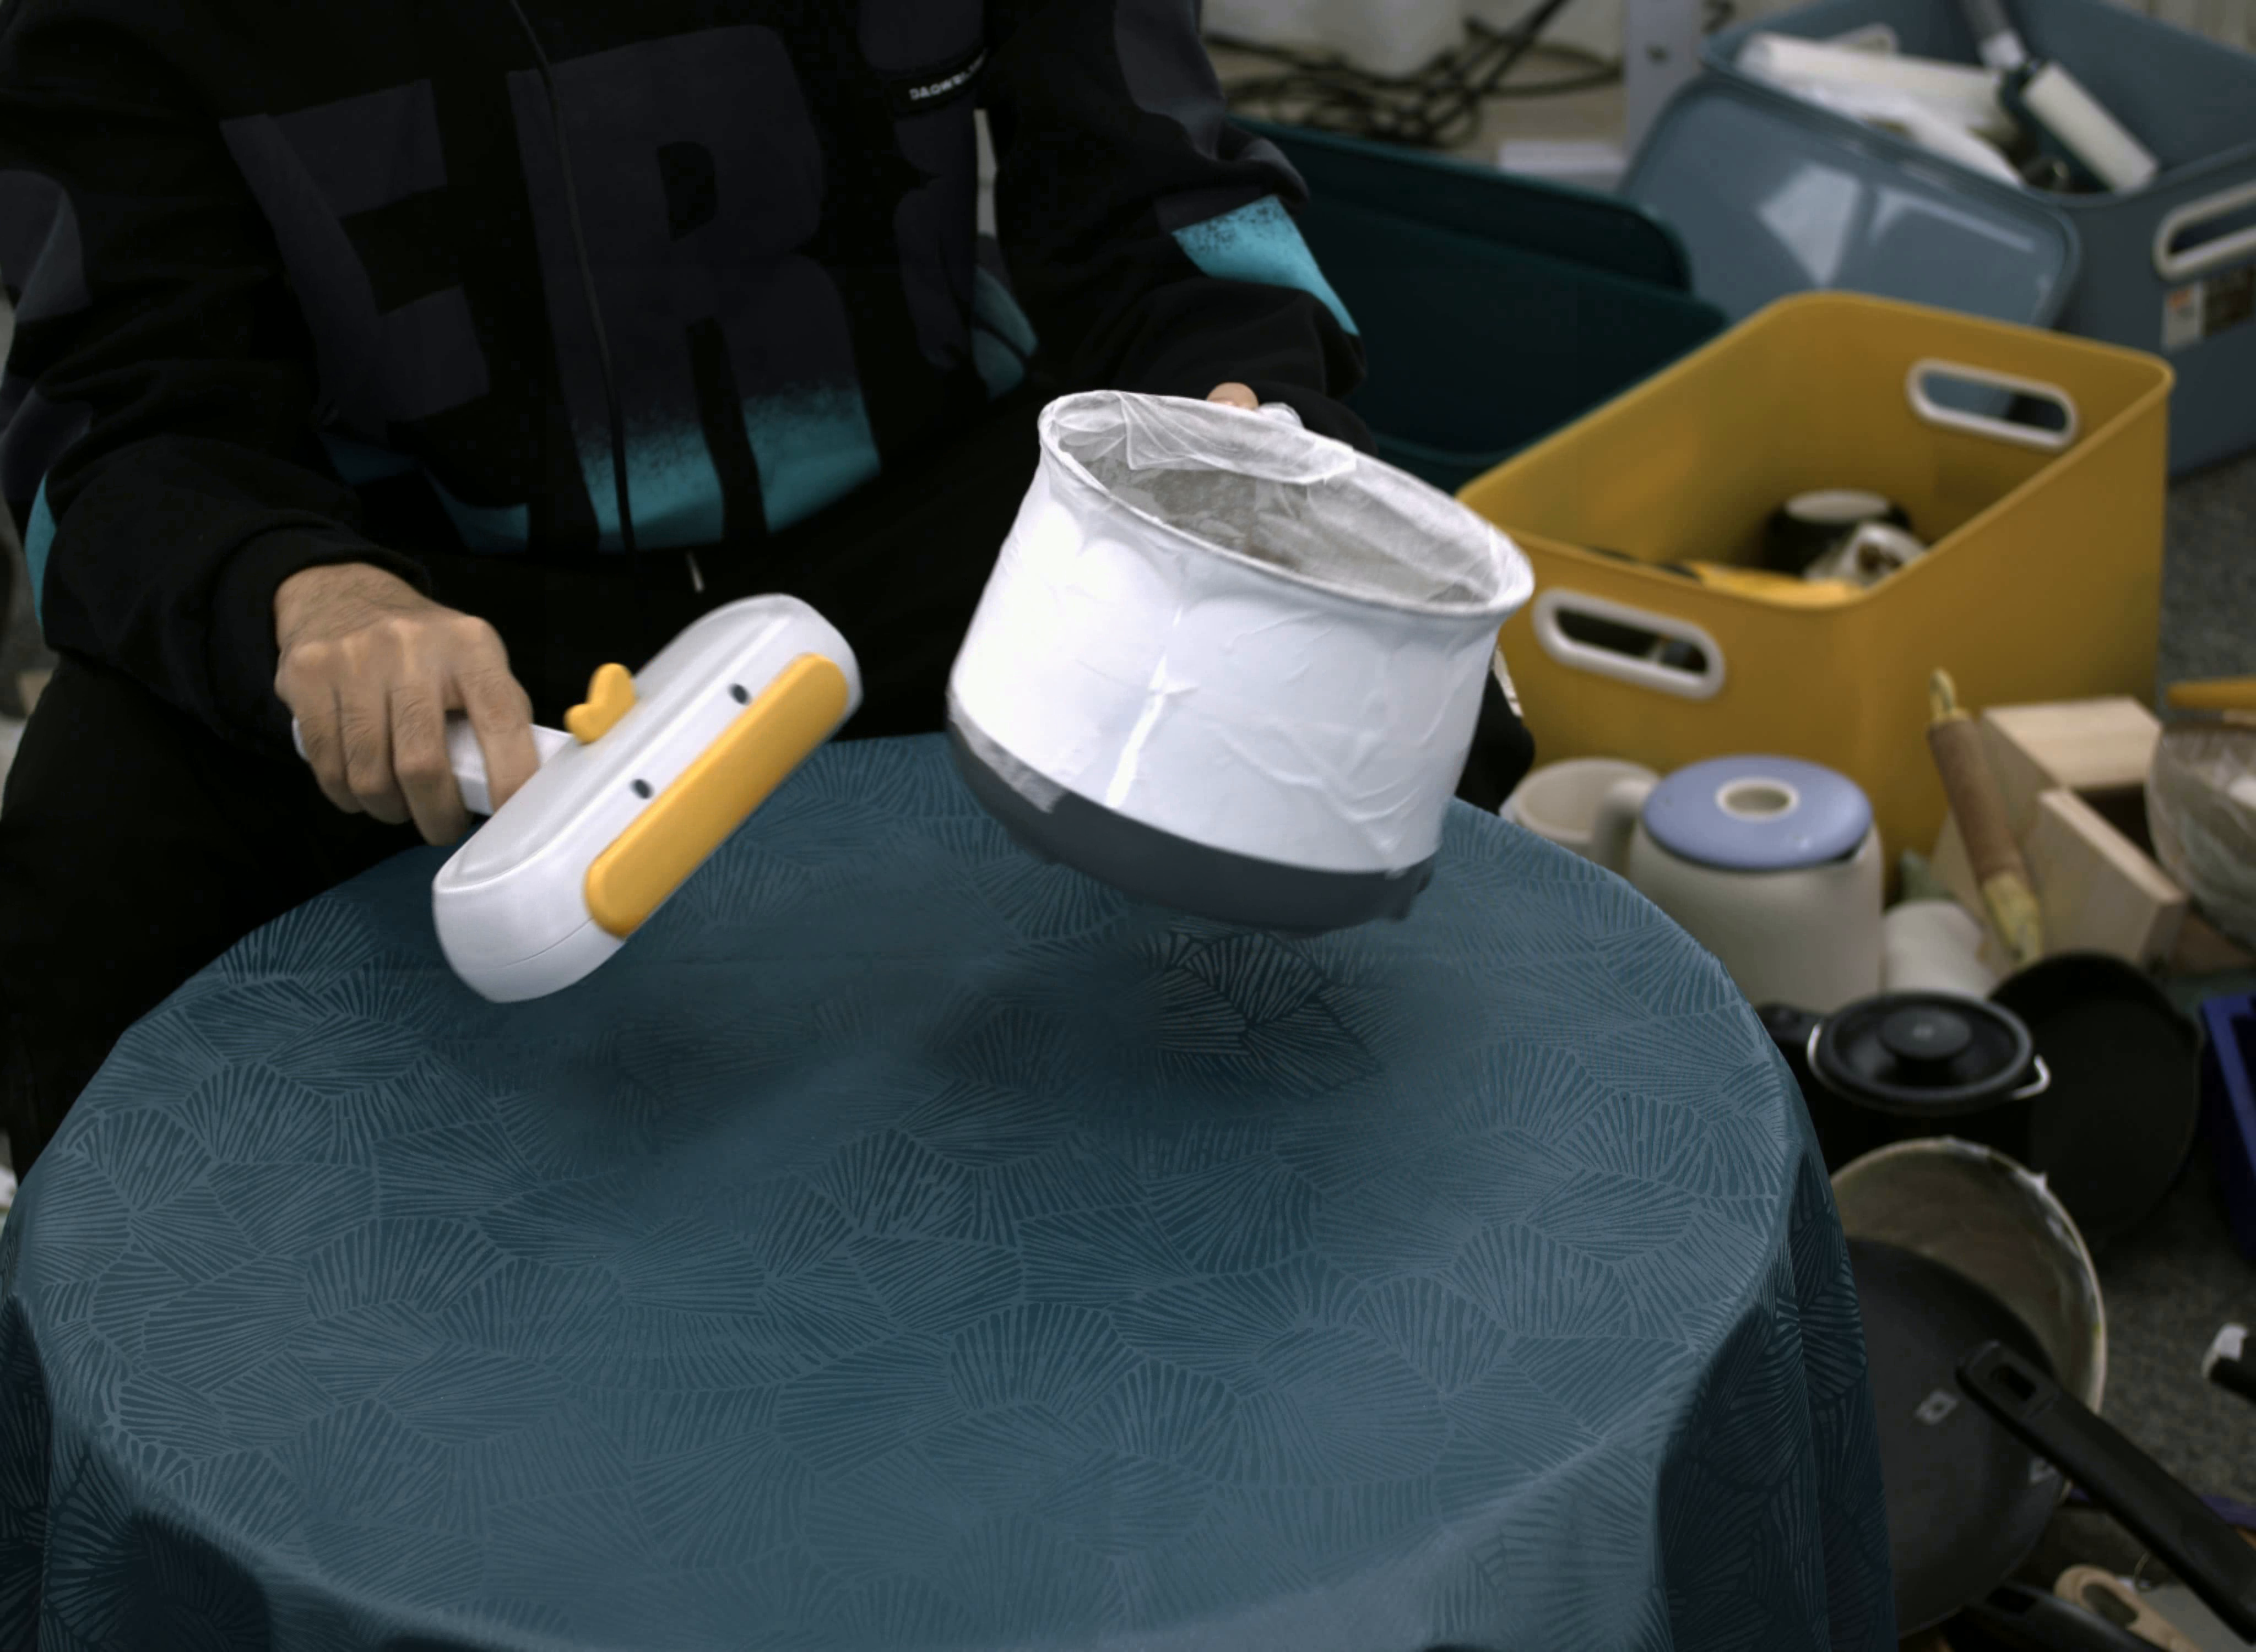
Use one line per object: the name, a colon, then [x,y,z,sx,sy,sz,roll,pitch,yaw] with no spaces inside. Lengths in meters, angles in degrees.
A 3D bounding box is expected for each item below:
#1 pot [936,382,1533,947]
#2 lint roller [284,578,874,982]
pot: [0.032,-0.063,1.934,0.178,0.135,0.236,20,19,-8]
lint roller: [-0.207,-0.022,1.946,0.190,0.073,0.196,-1,37,34]
